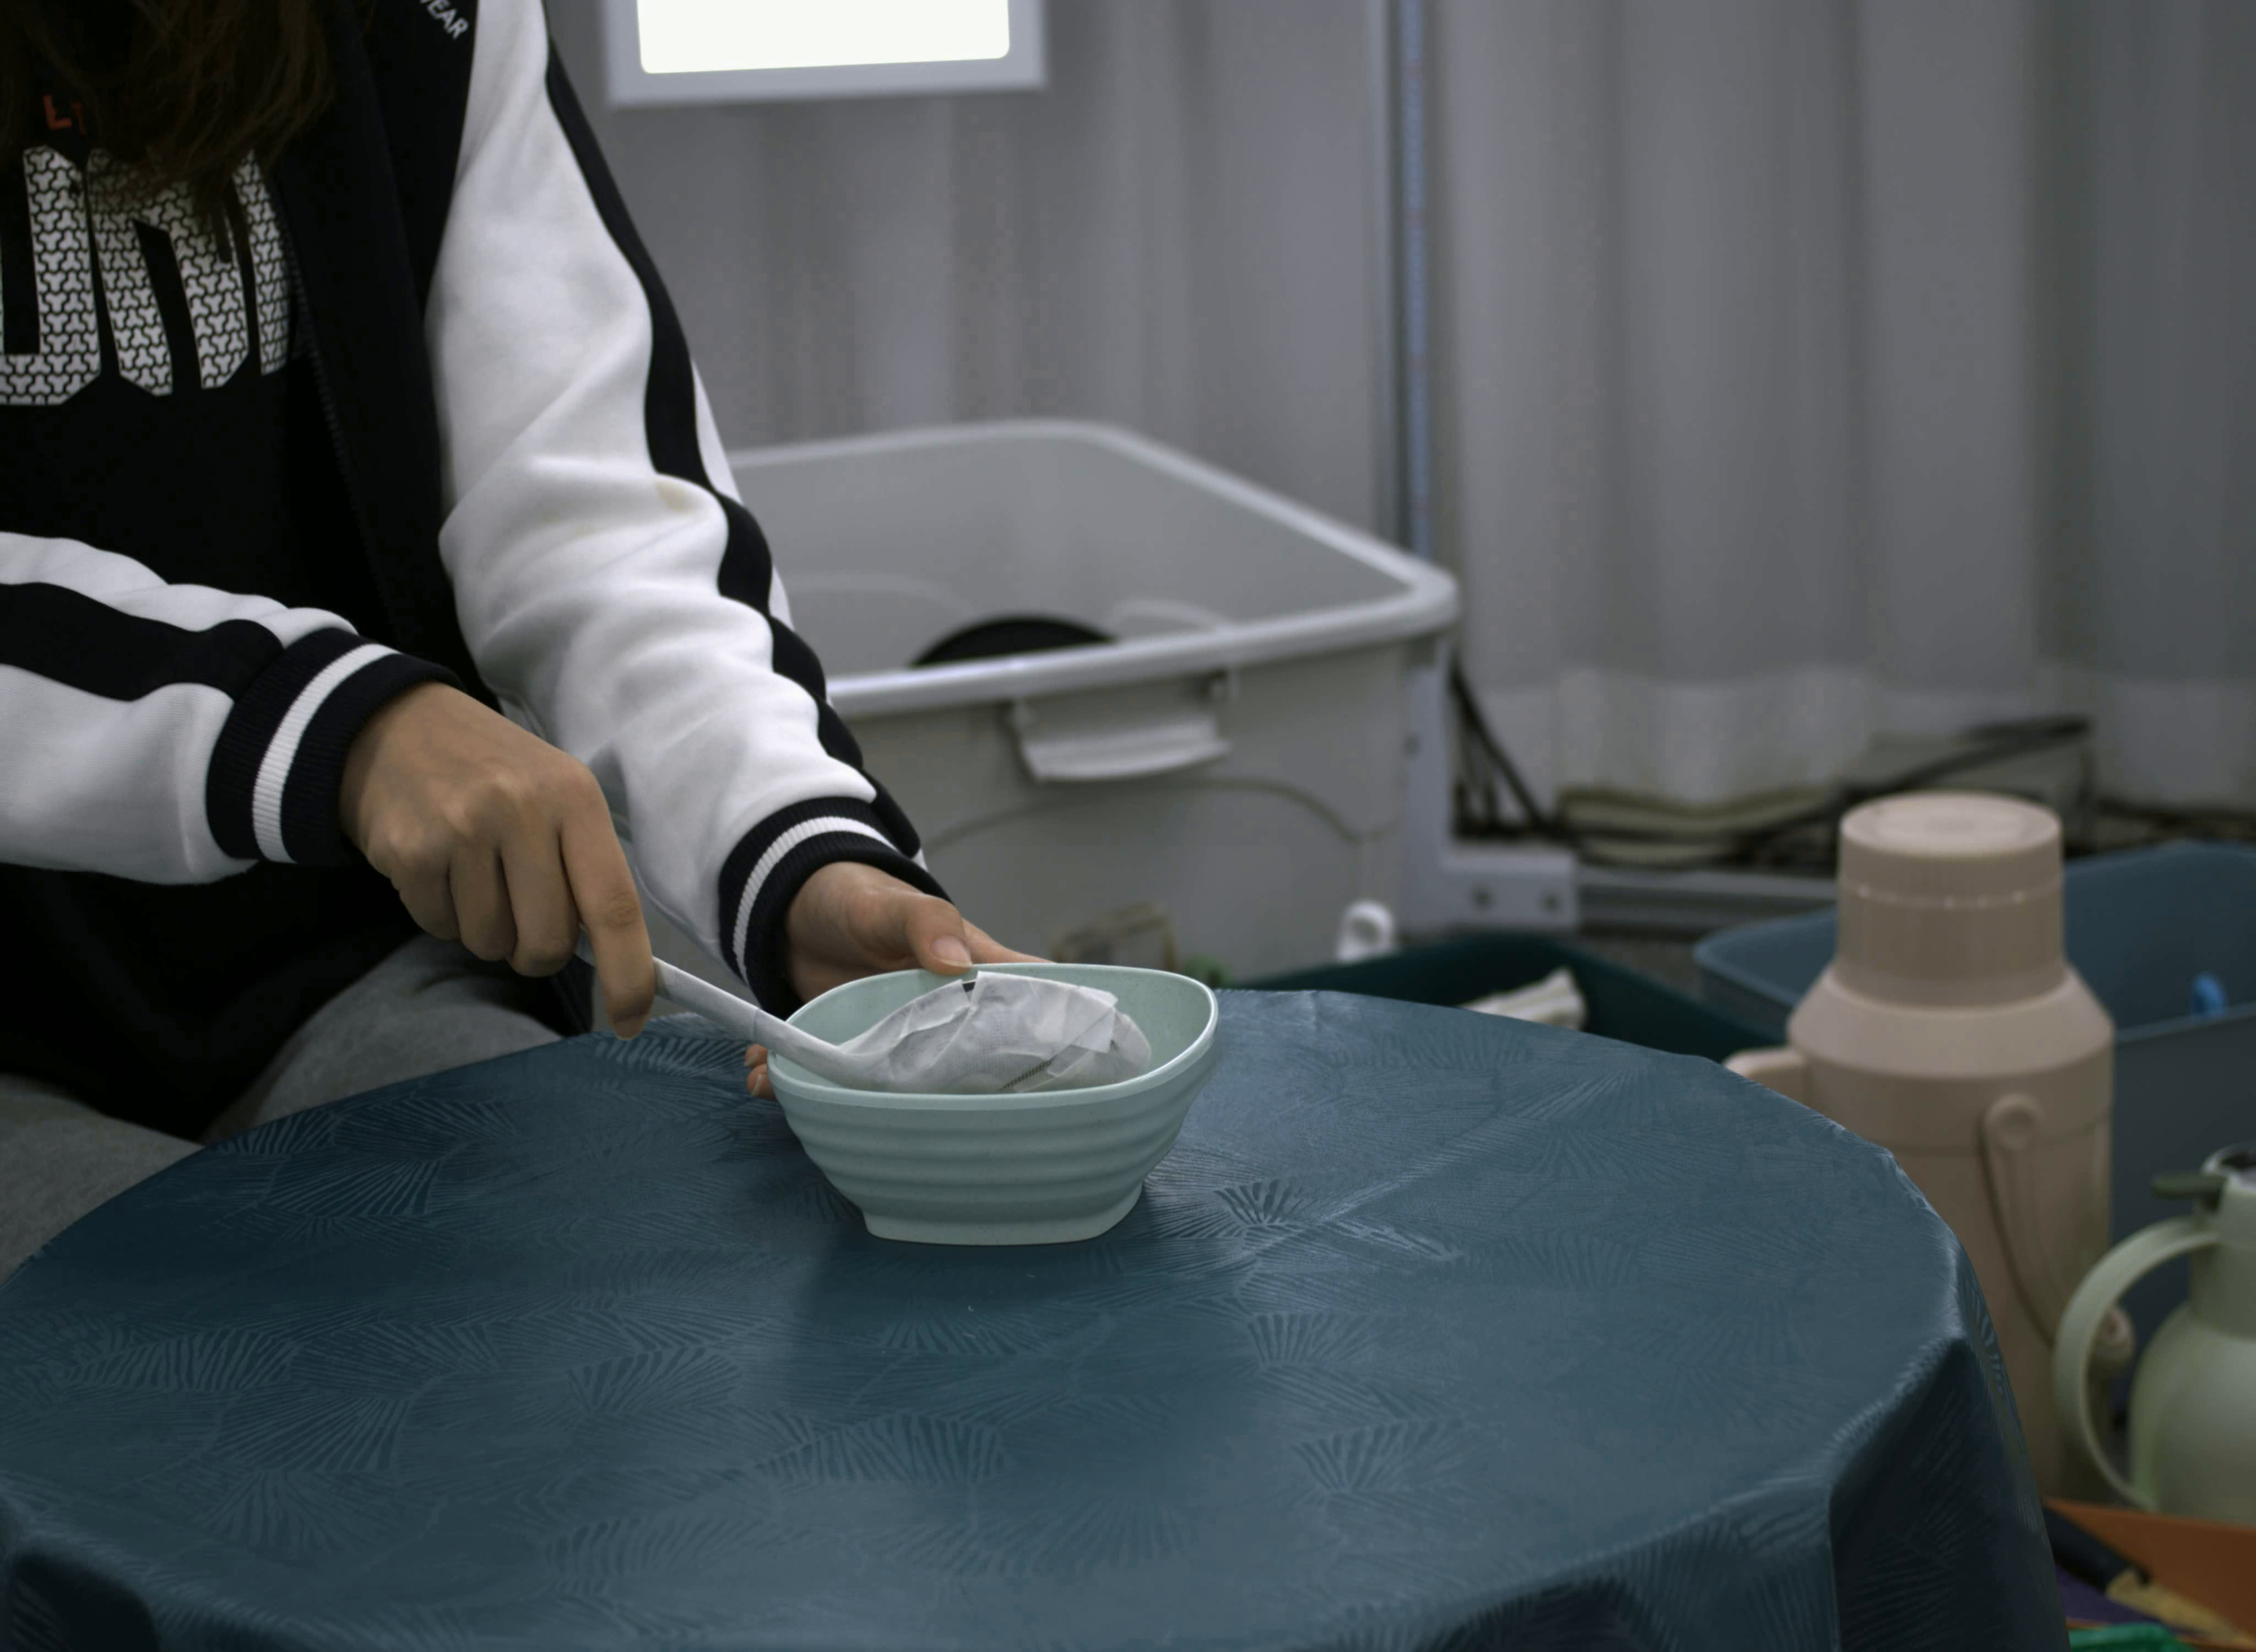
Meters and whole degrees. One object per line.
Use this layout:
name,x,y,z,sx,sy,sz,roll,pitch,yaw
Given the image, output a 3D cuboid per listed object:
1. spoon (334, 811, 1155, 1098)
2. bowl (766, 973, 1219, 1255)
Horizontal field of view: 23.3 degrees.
spoon,-0.123,0.042,1.712,0.279,0.099,0.060,24,42,23
bowl,-0.040,0.093,1.705,0.151,0.058,0.152,-3,14,0
